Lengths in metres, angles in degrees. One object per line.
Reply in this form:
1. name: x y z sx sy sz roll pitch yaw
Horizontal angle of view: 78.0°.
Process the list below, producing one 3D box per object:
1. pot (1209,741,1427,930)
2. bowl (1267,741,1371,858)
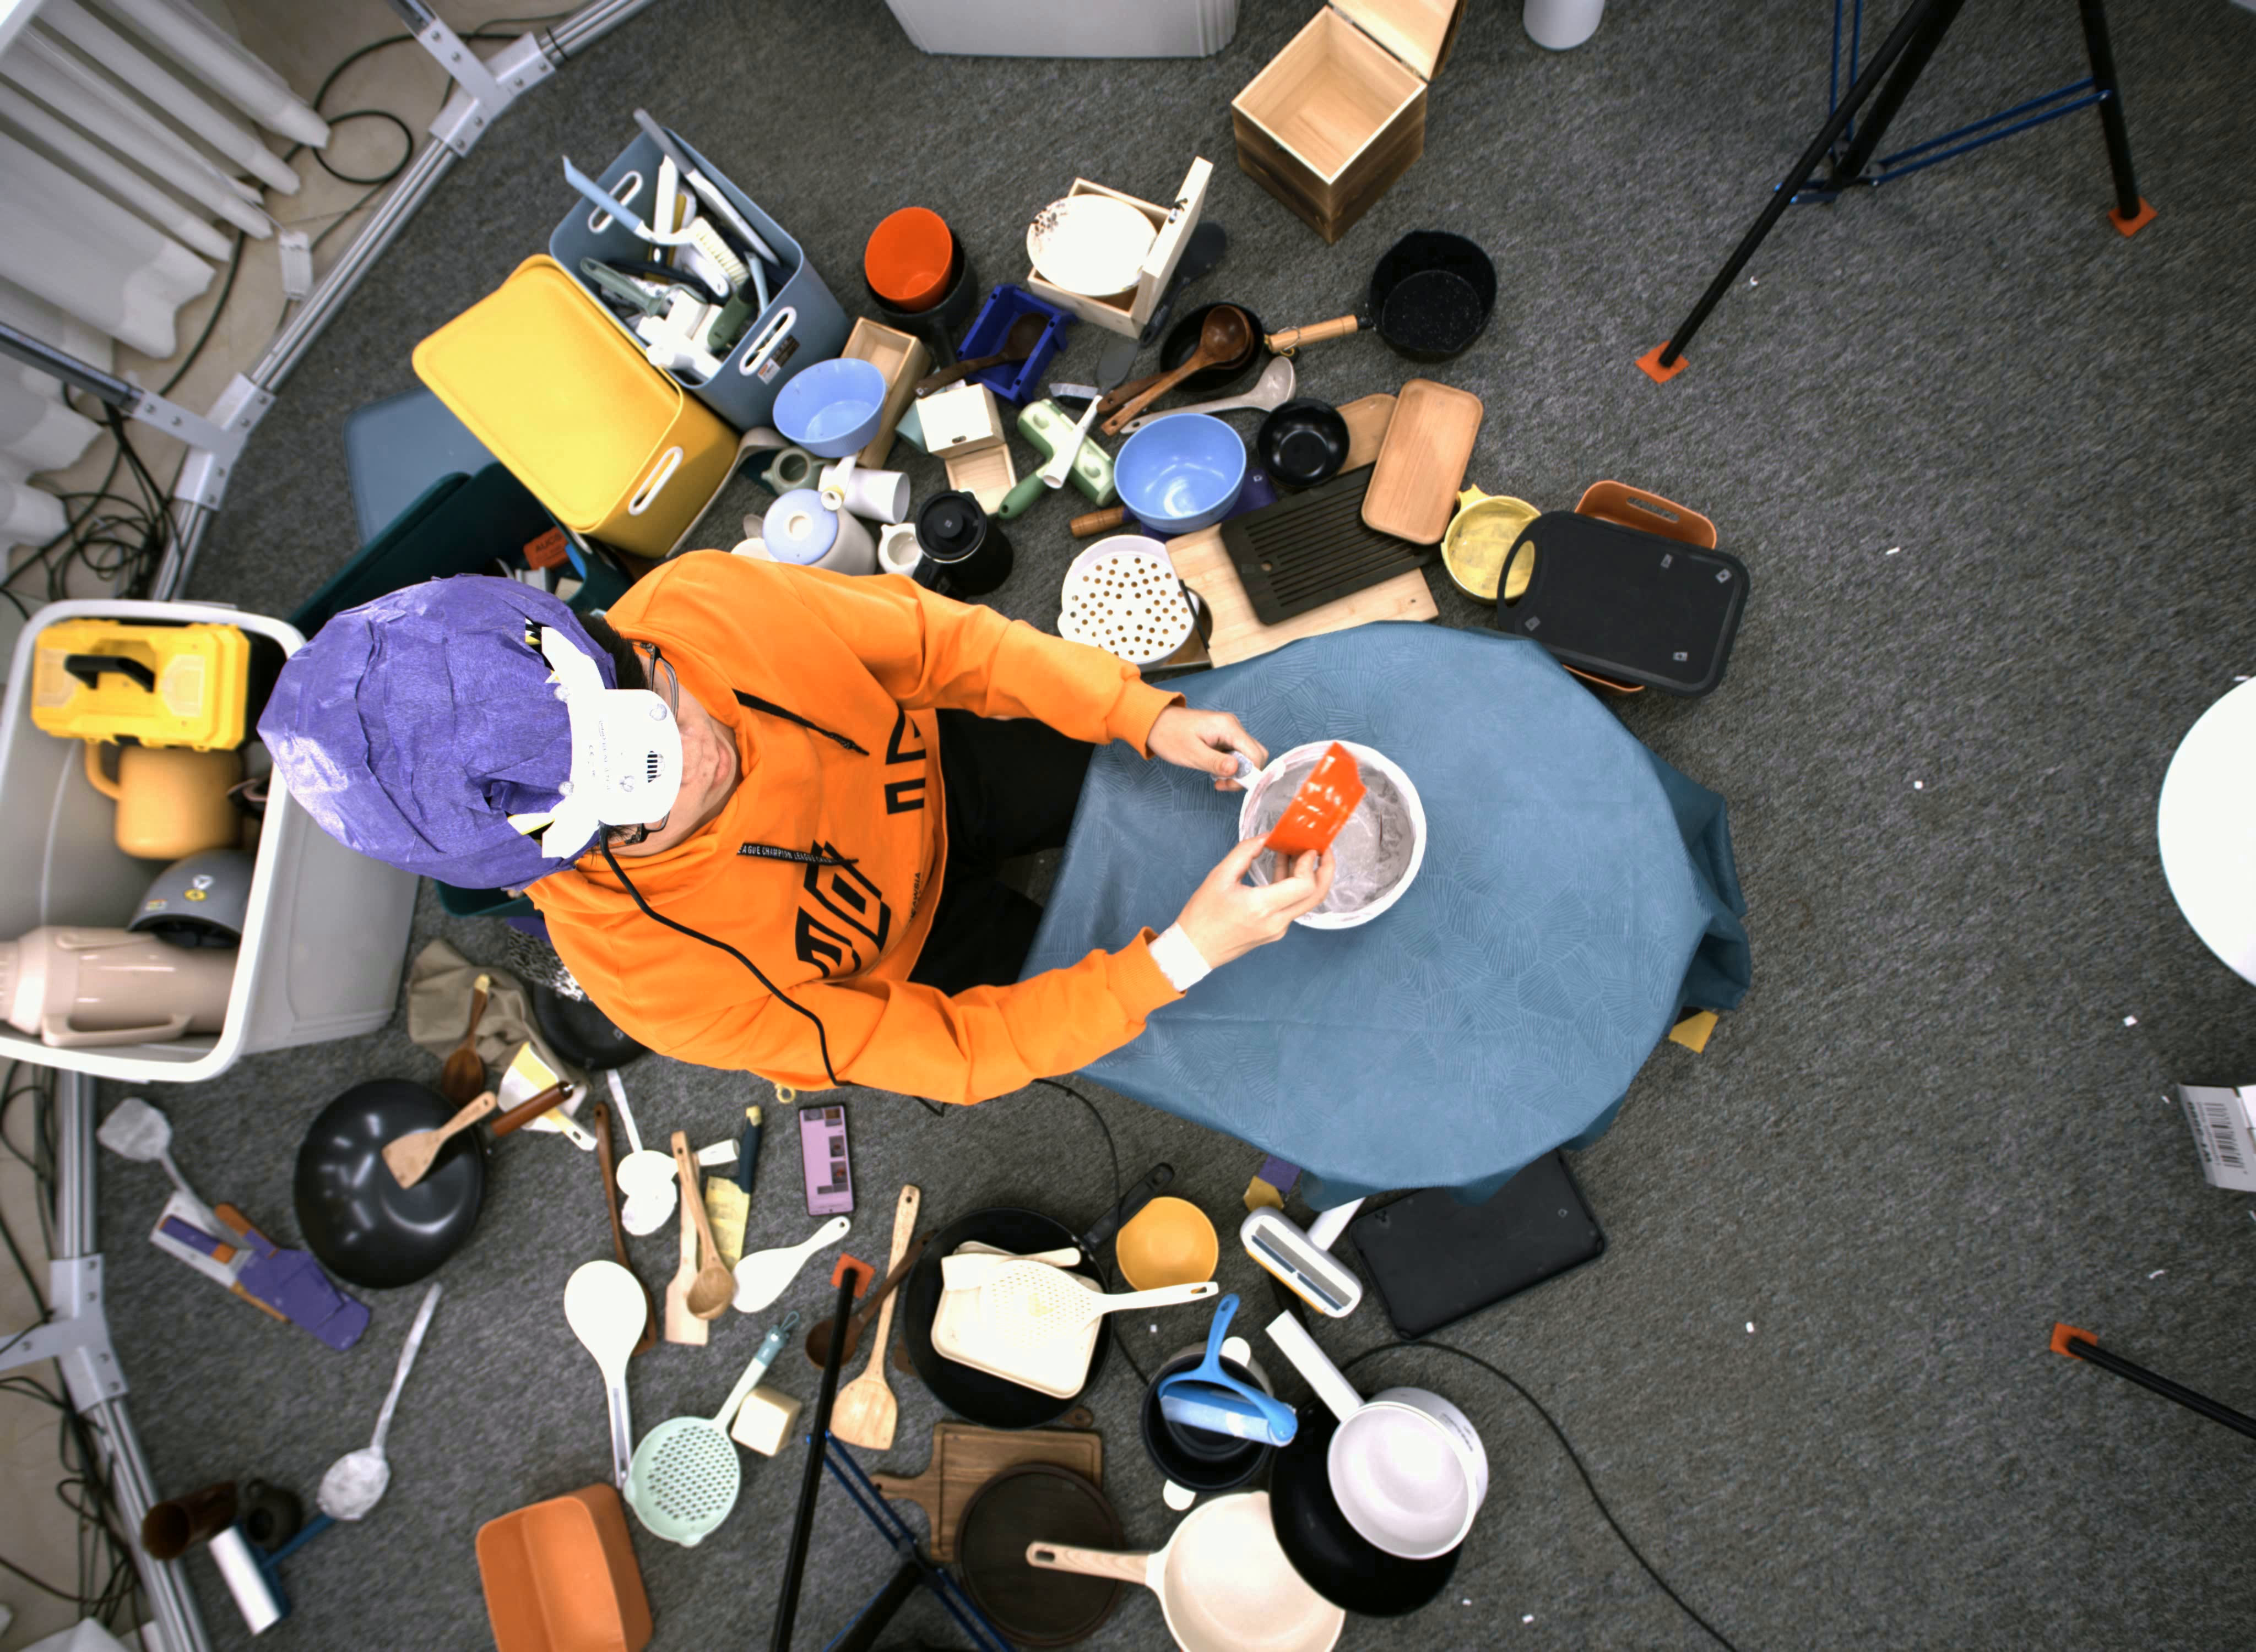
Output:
1. pot: 0.179 -0.003 1.377 0.233 0.137 0.179 35 90 9
2. bowl: 0.181 -0.016 1.274 0.051 0.119 0.119 35 91 5
